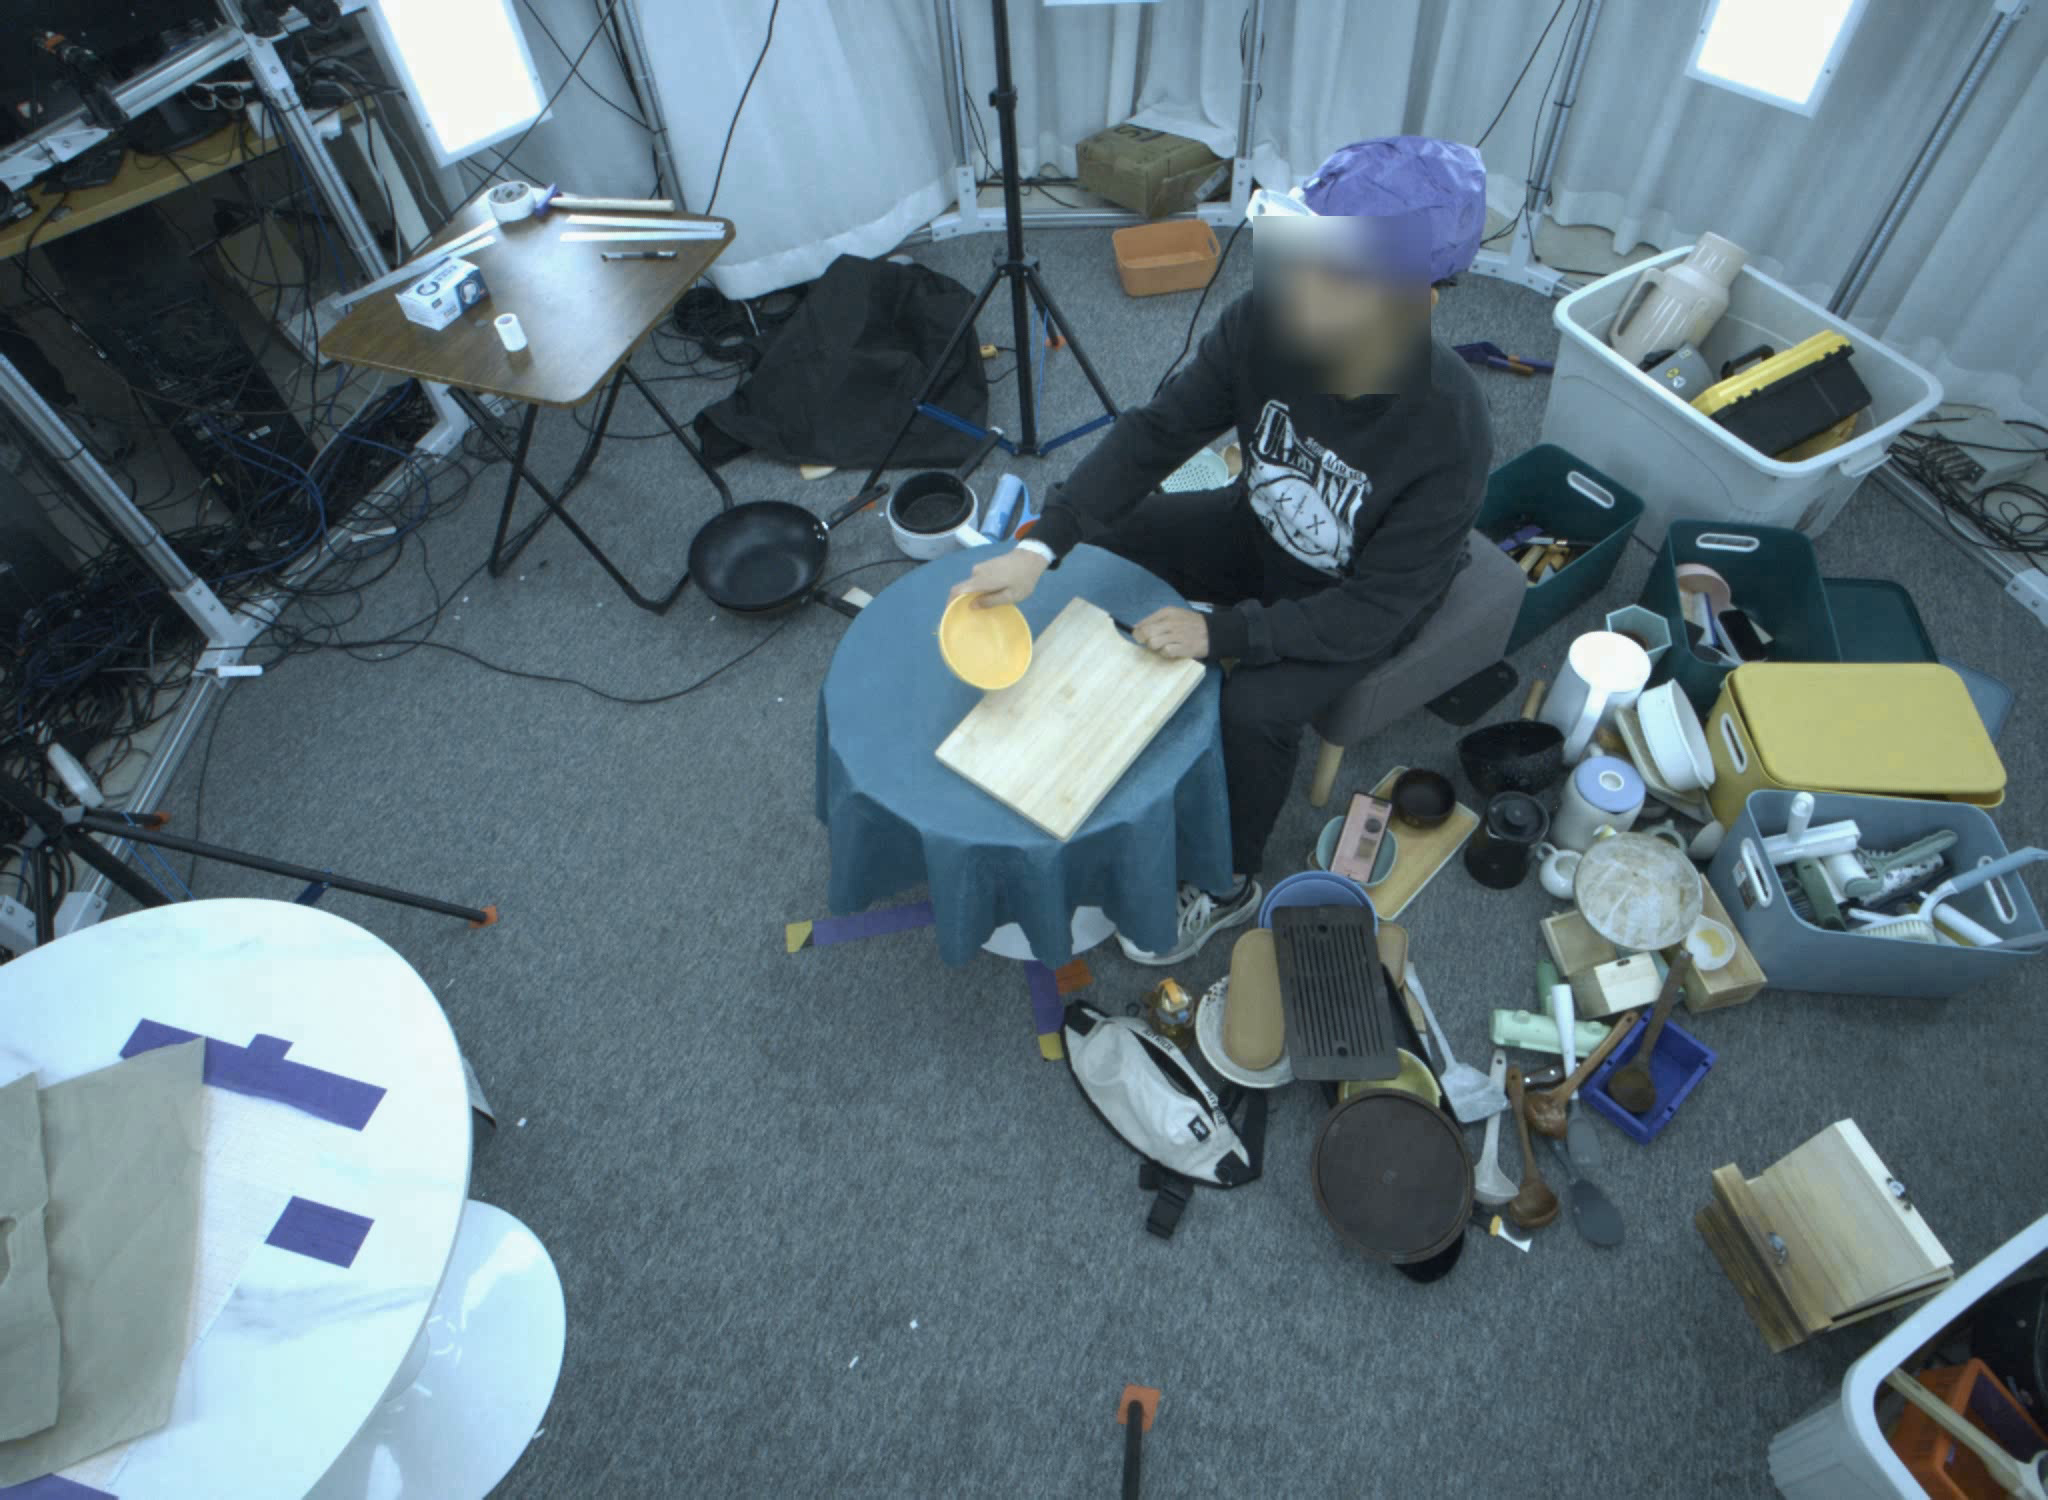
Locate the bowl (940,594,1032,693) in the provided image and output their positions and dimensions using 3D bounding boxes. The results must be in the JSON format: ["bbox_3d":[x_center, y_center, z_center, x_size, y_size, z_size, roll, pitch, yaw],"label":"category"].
[{"bbox_3d":[-0.064,-0.146,1.756,0.148,0.059,0.144,7,77,-30],"label":"bowl"}]

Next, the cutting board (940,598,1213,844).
[{"bbox_3d":[0.076,-0.052,1.797,0.246,0.024,0.350,31,68,22],"label":"cutting board"}]
